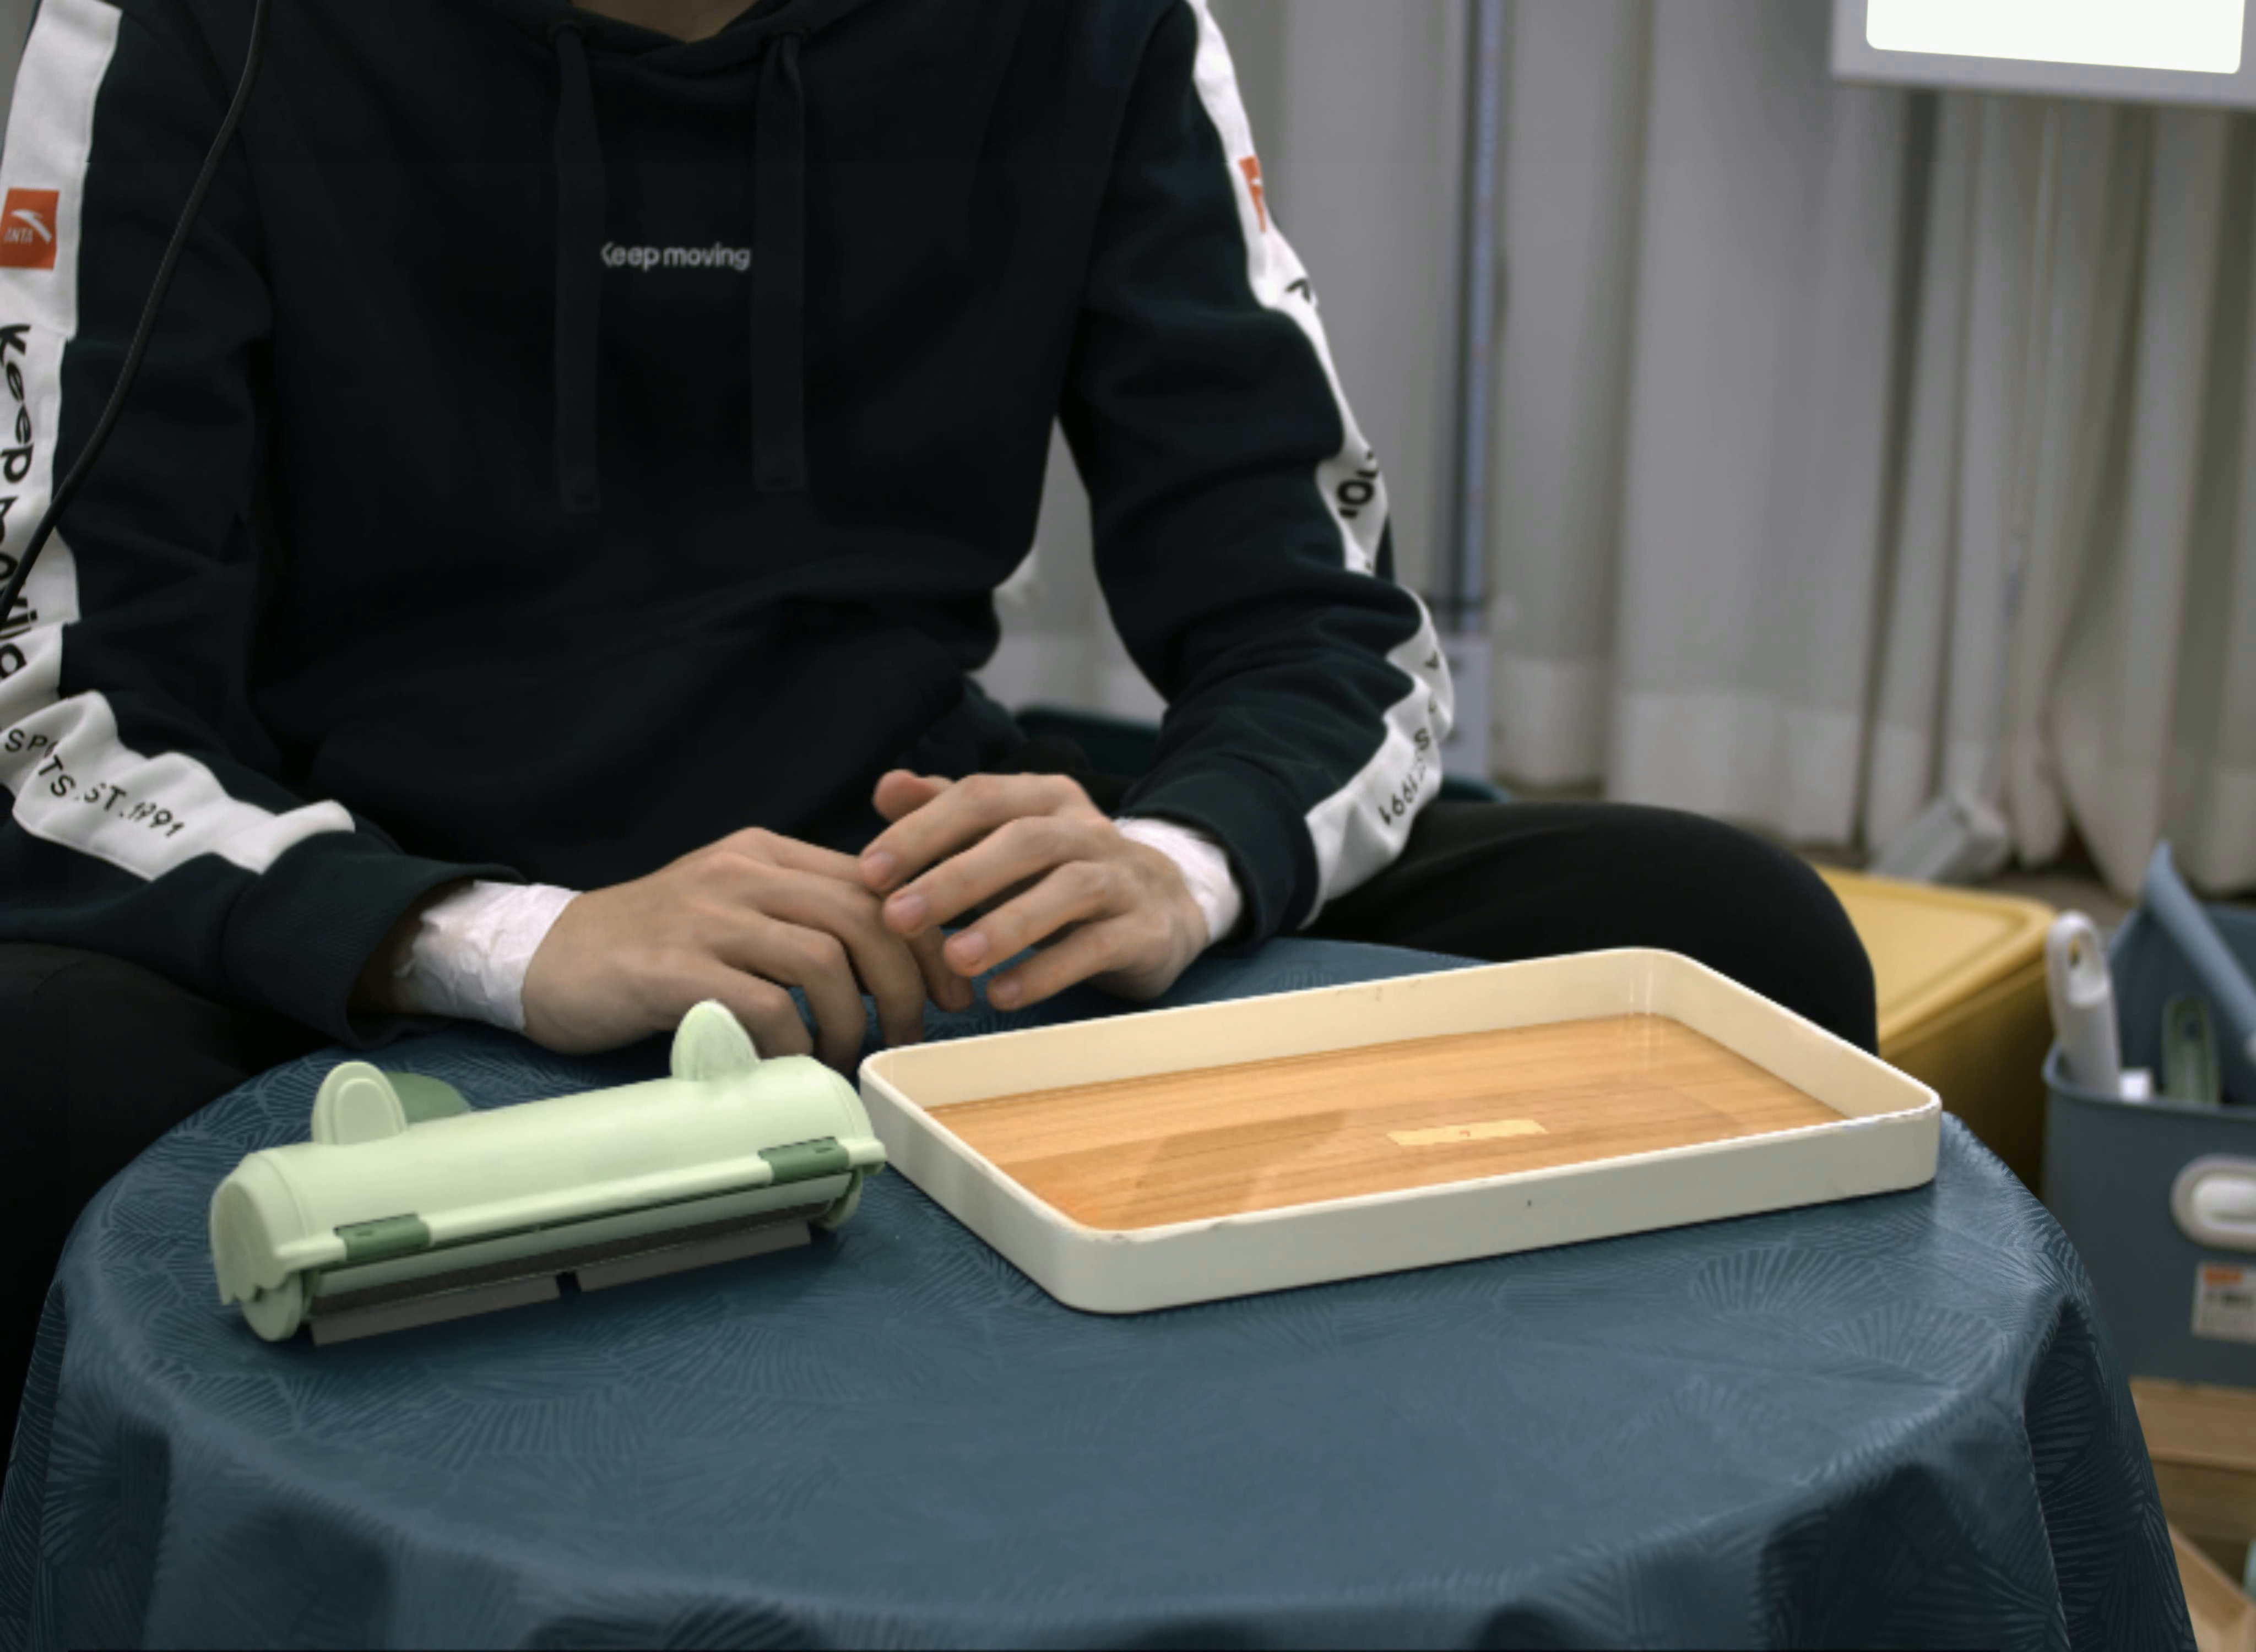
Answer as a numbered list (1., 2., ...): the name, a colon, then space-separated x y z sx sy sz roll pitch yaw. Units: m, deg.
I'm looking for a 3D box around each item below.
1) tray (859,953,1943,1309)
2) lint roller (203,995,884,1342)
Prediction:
1. tray: 0.084 0.092 1.647 0.301 0.027 0.189 -7 16 -24
2. lint roller: -0.198 0.084 1.572 0.199 0.083 0.181 -9 23 -31
